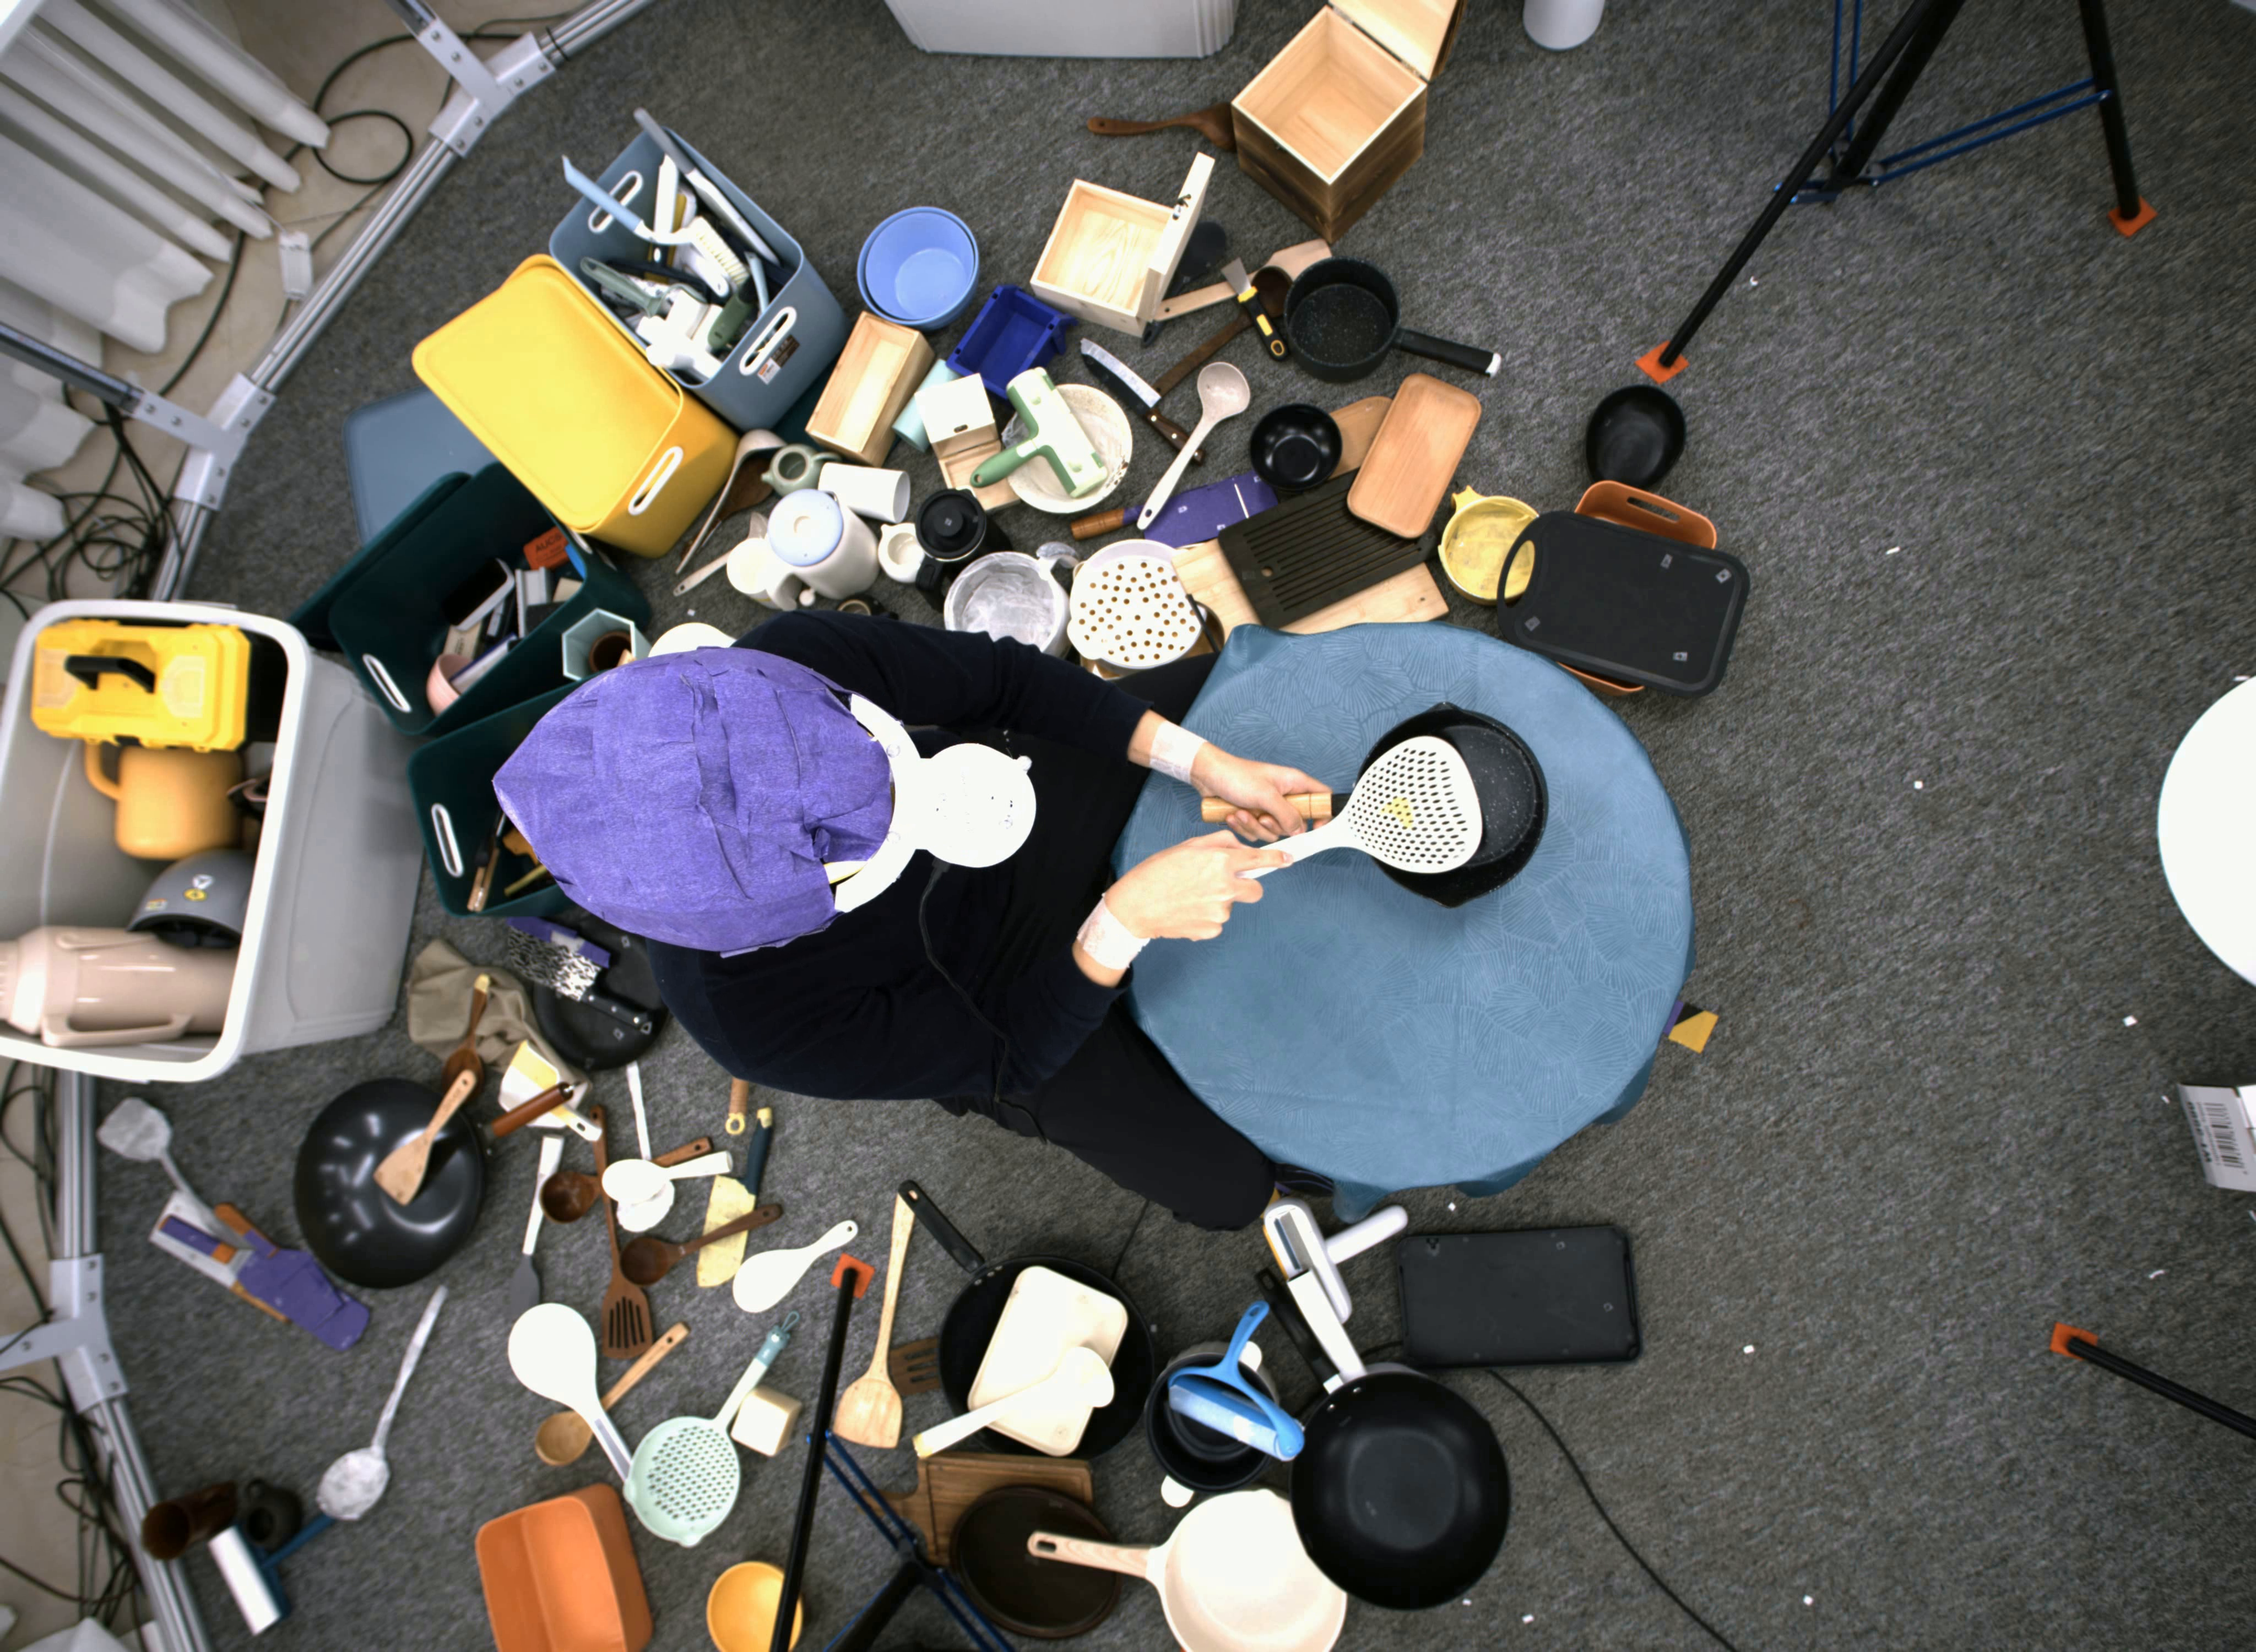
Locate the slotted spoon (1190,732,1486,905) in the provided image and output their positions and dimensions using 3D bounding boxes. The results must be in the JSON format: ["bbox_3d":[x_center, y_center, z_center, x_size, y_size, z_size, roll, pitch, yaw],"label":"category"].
[{"bbox_3d":[0.203,0.007,1.303,0.343,0.051,0.137,-19,92,-33],"label":"slotted spoon"}]

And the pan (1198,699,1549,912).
[{"bbox_3d":[0.244,-0.023,1.375,0.345,0.106,0.209,-1,101,23],"label":"pan"}]
